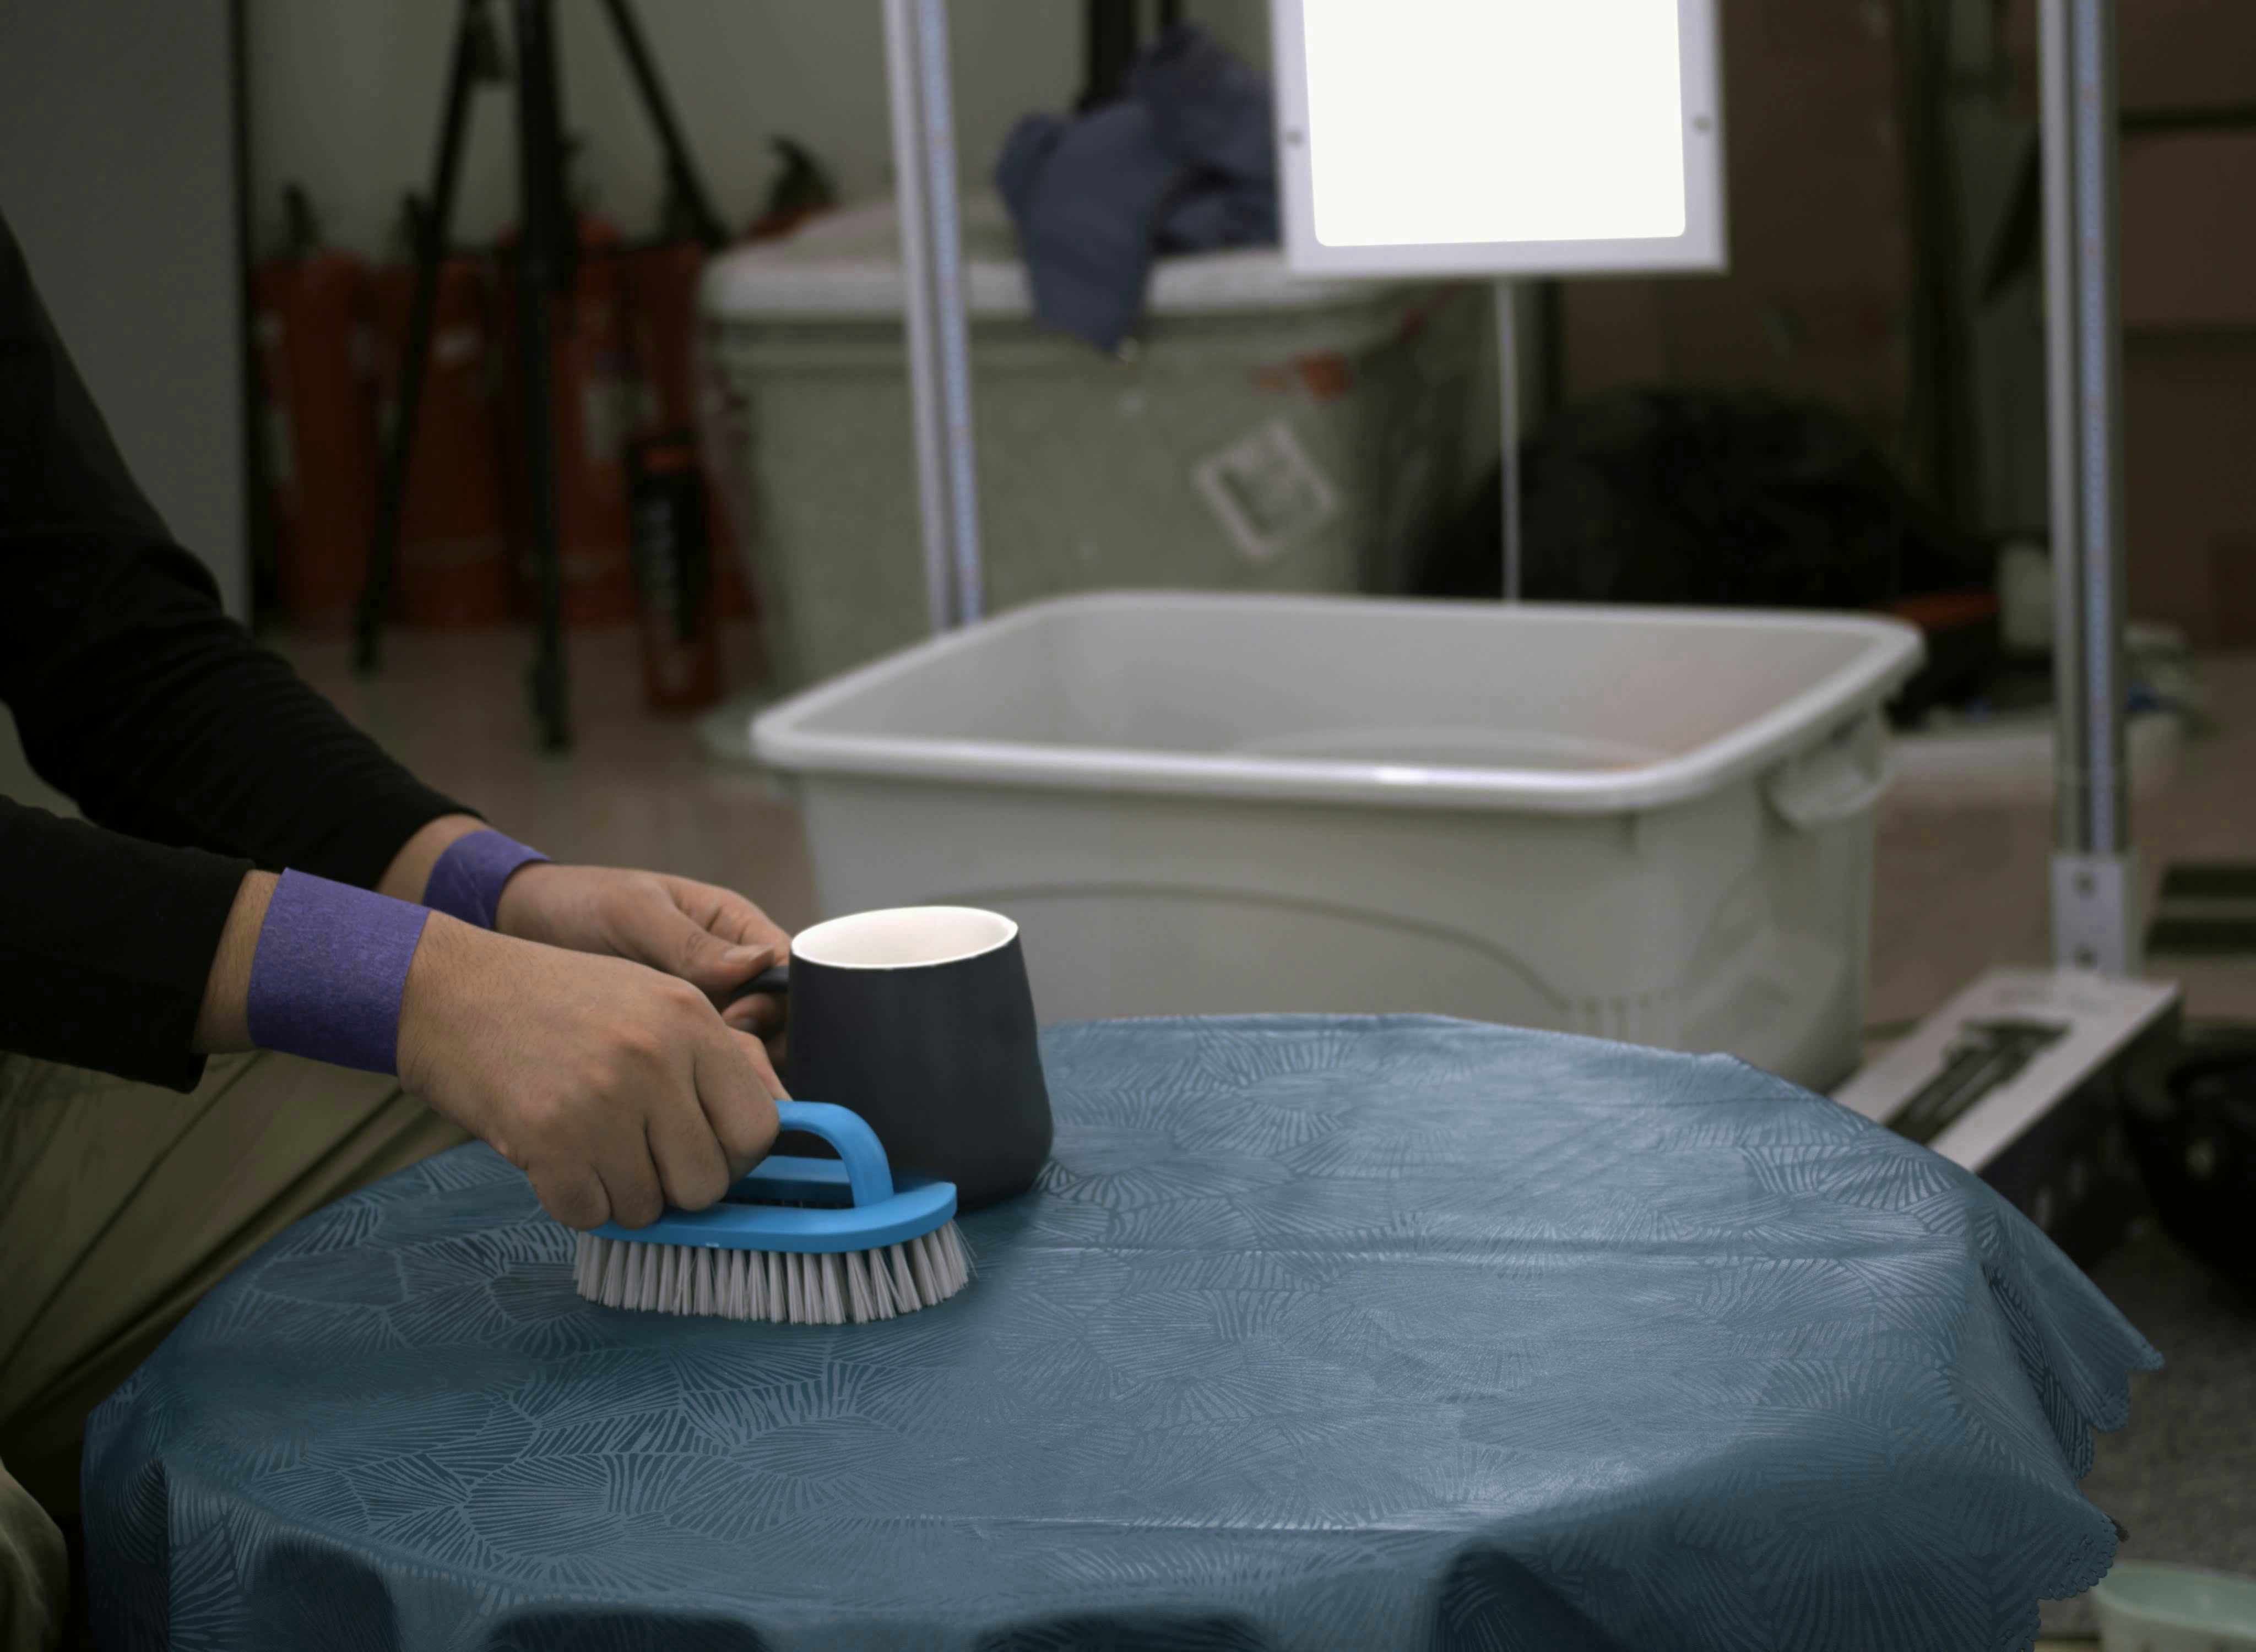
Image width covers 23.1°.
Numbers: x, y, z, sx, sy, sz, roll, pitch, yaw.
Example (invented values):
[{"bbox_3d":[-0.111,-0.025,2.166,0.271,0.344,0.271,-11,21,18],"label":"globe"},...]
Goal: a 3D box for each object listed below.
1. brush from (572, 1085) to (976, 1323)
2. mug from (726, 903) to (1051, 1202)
[{"bbox_3d":[-0.122,0.119,1.832,0.144,0.064,0.082,2,20,28],"label":"brush"},{"bbox_3d":[-0.087,0.078,1.925,0.125,0.090,0.091,6,17,32],"label":"mug"}]
